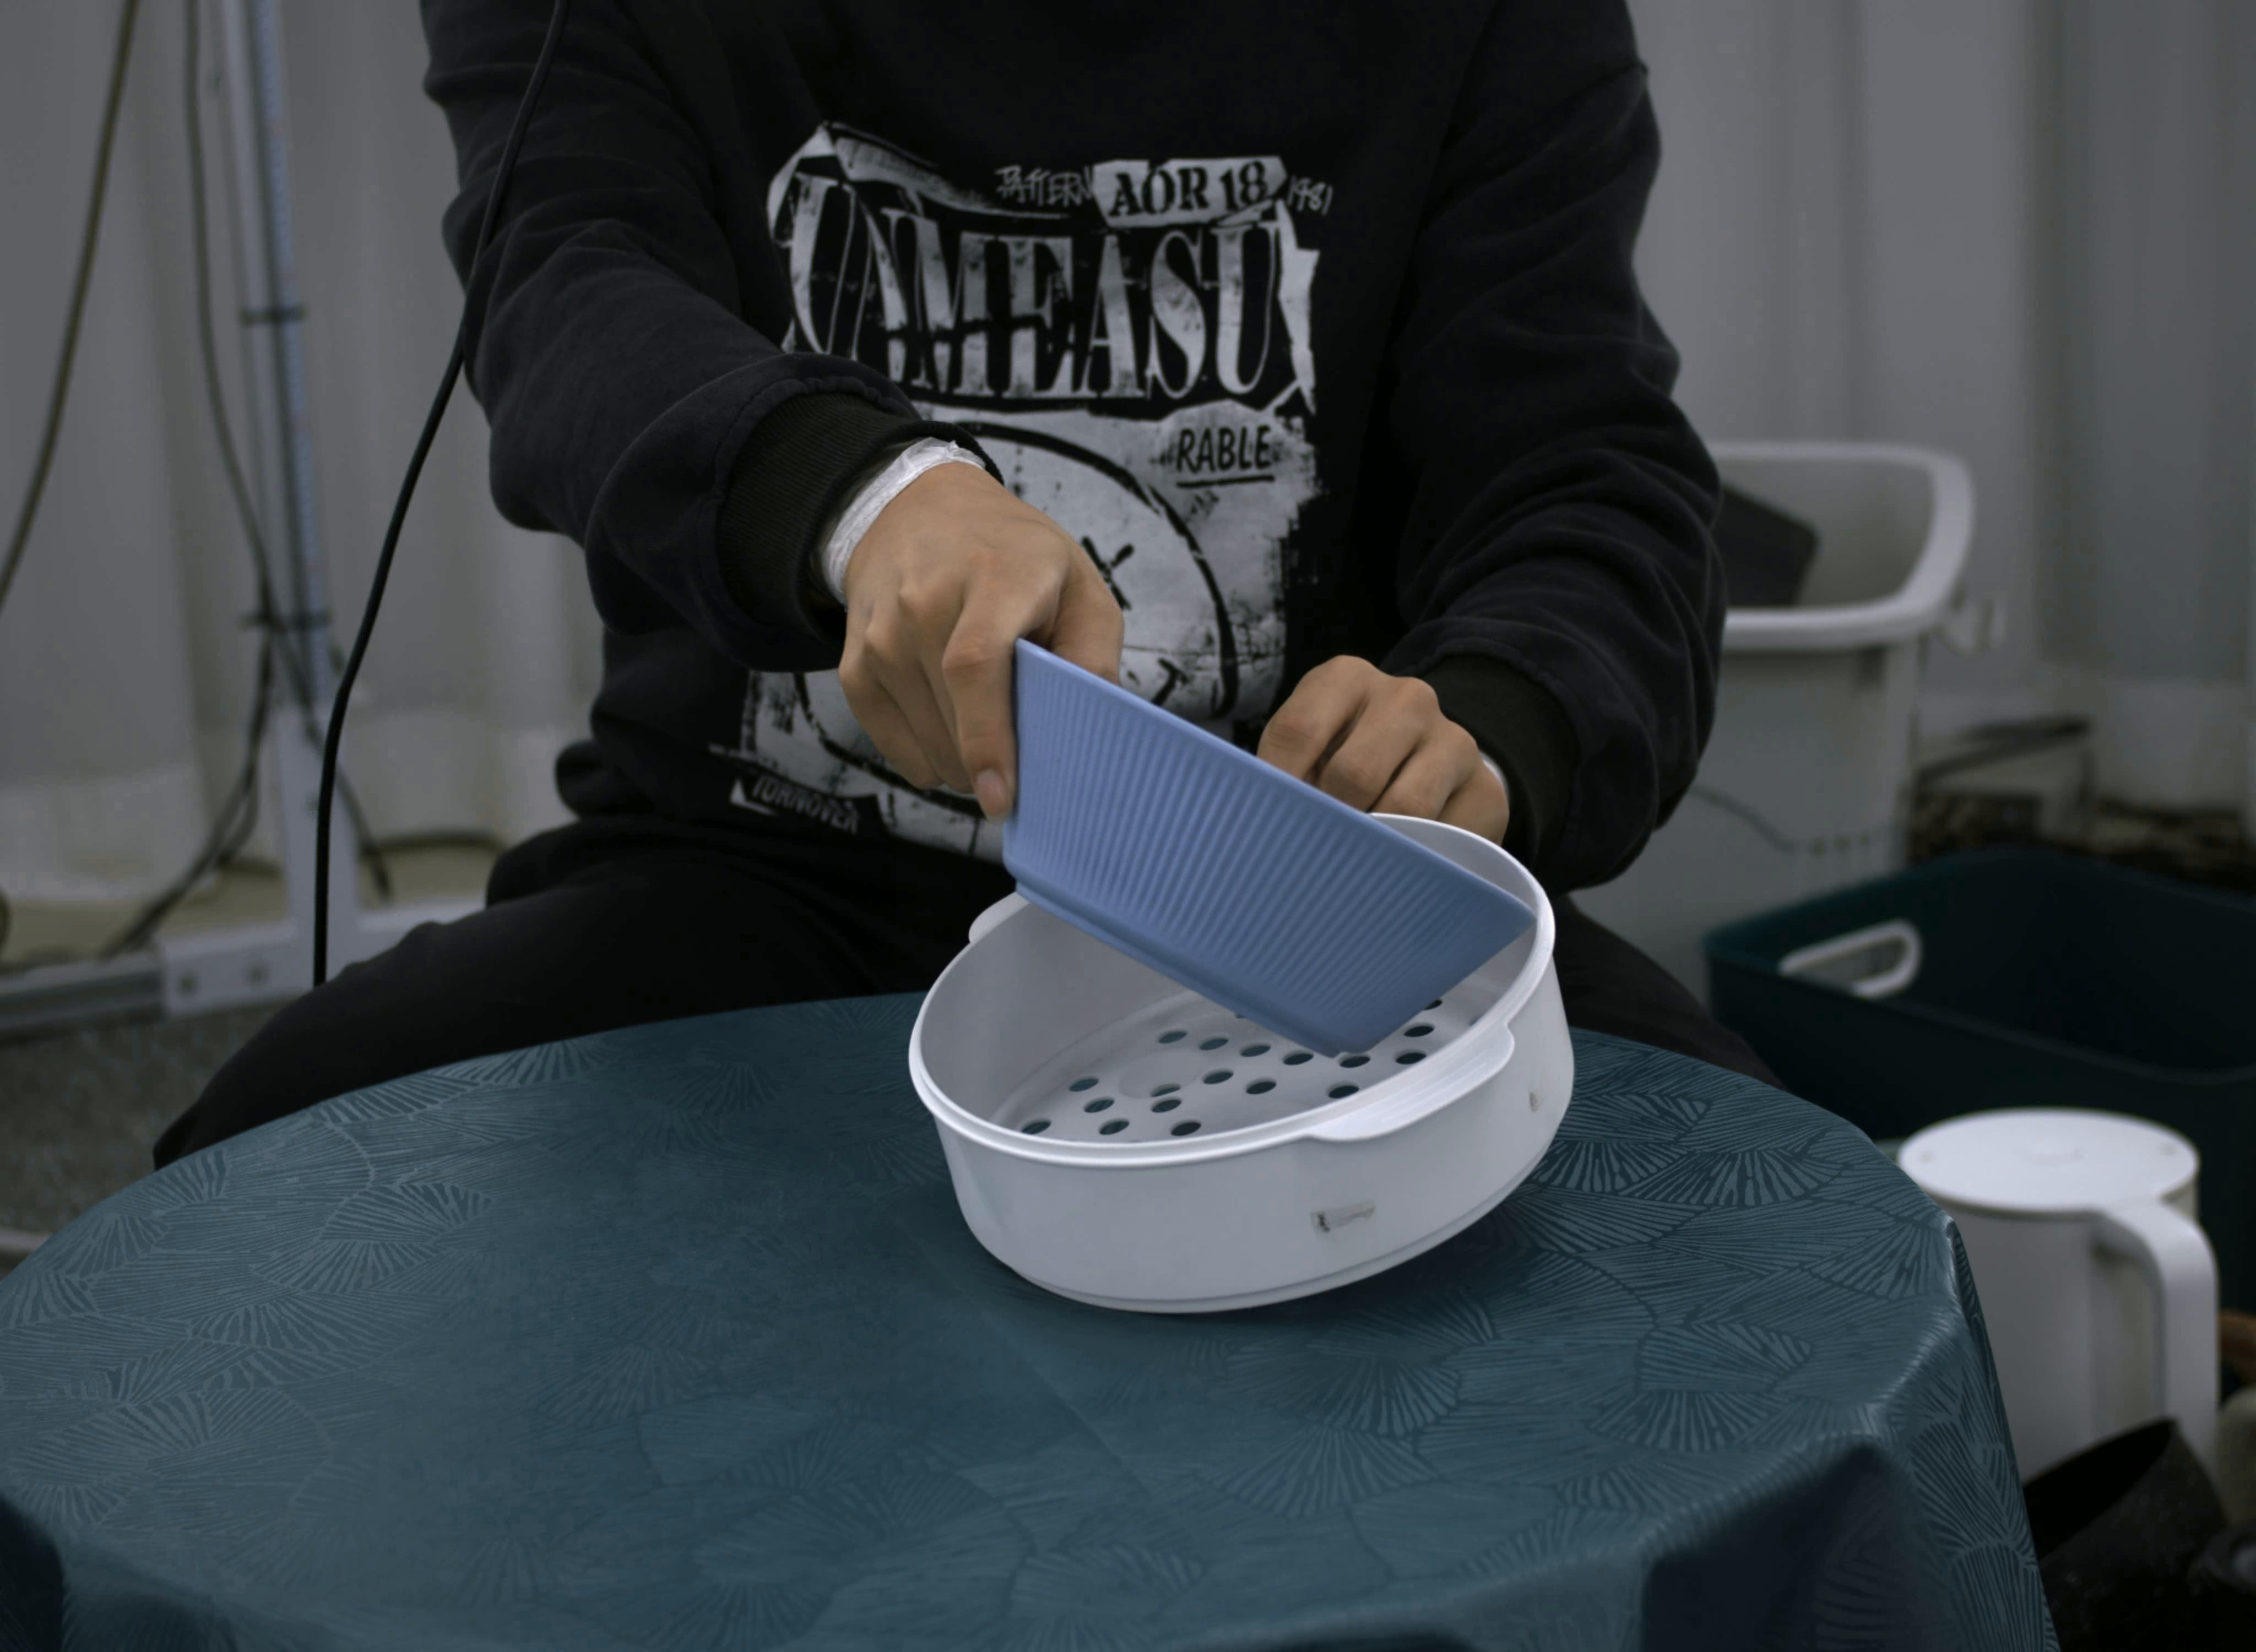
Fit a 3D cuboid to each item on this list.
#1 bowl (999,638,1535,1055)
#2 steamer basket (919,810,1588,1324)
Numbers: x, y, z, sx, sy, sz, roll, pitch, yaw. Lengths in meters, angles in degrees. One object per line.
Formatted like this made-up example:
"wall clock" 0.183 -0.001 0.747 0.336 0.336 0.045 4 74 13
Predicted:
"bowl" 0.028 0.013 1.617 0.176 0.070 0.176 28 0 0
"steamer basket" 0.041 0.073 1.658 0.202 0.068 0.233 -27 31 -24
